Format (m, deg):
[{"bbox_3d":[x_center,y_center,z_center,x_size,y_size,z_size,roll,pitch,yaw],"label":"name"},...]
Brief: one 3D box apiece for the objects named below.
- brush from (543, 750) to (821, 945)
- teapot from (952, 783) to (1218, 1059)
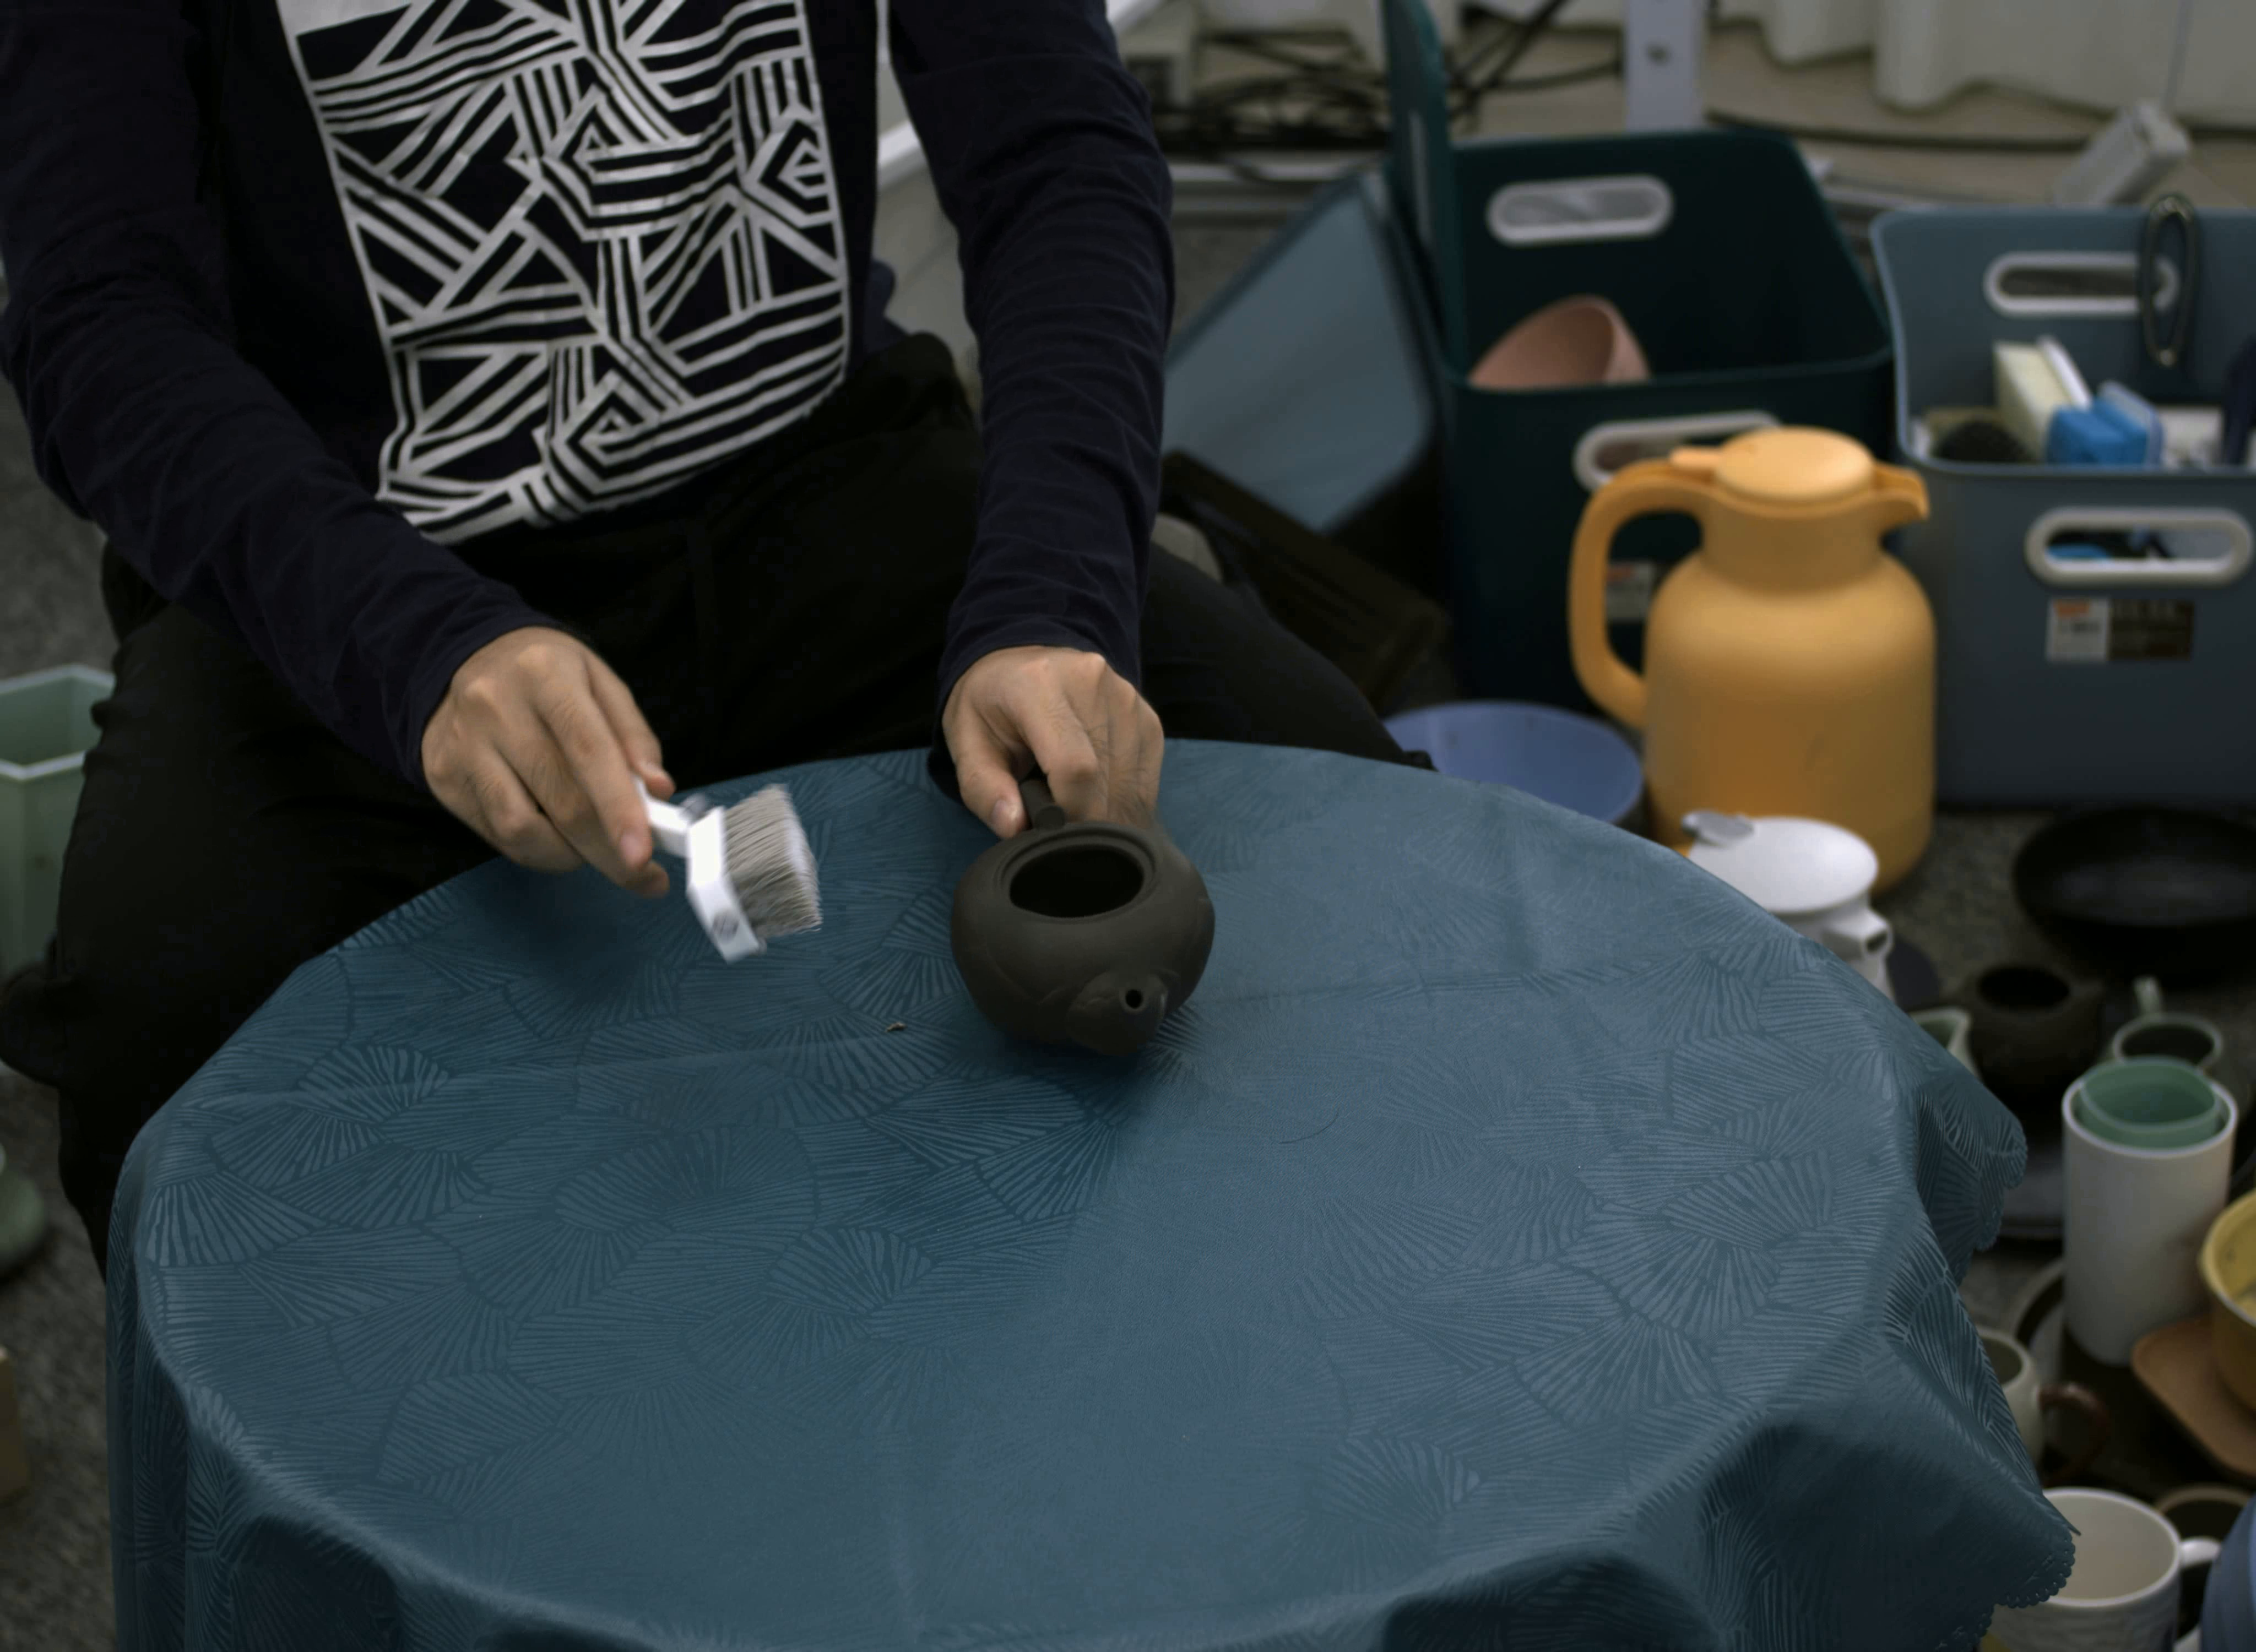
[{"bbox_3d":[-0.155,-0.004,1.976,0.050,0.034,0.244,-27,19,-13],"label":"brush"},{"bbox_3d":[-0.016,0.037,1.952,0.092,0.063,0.156,-10,34,-10],"label":"teapot"}]
